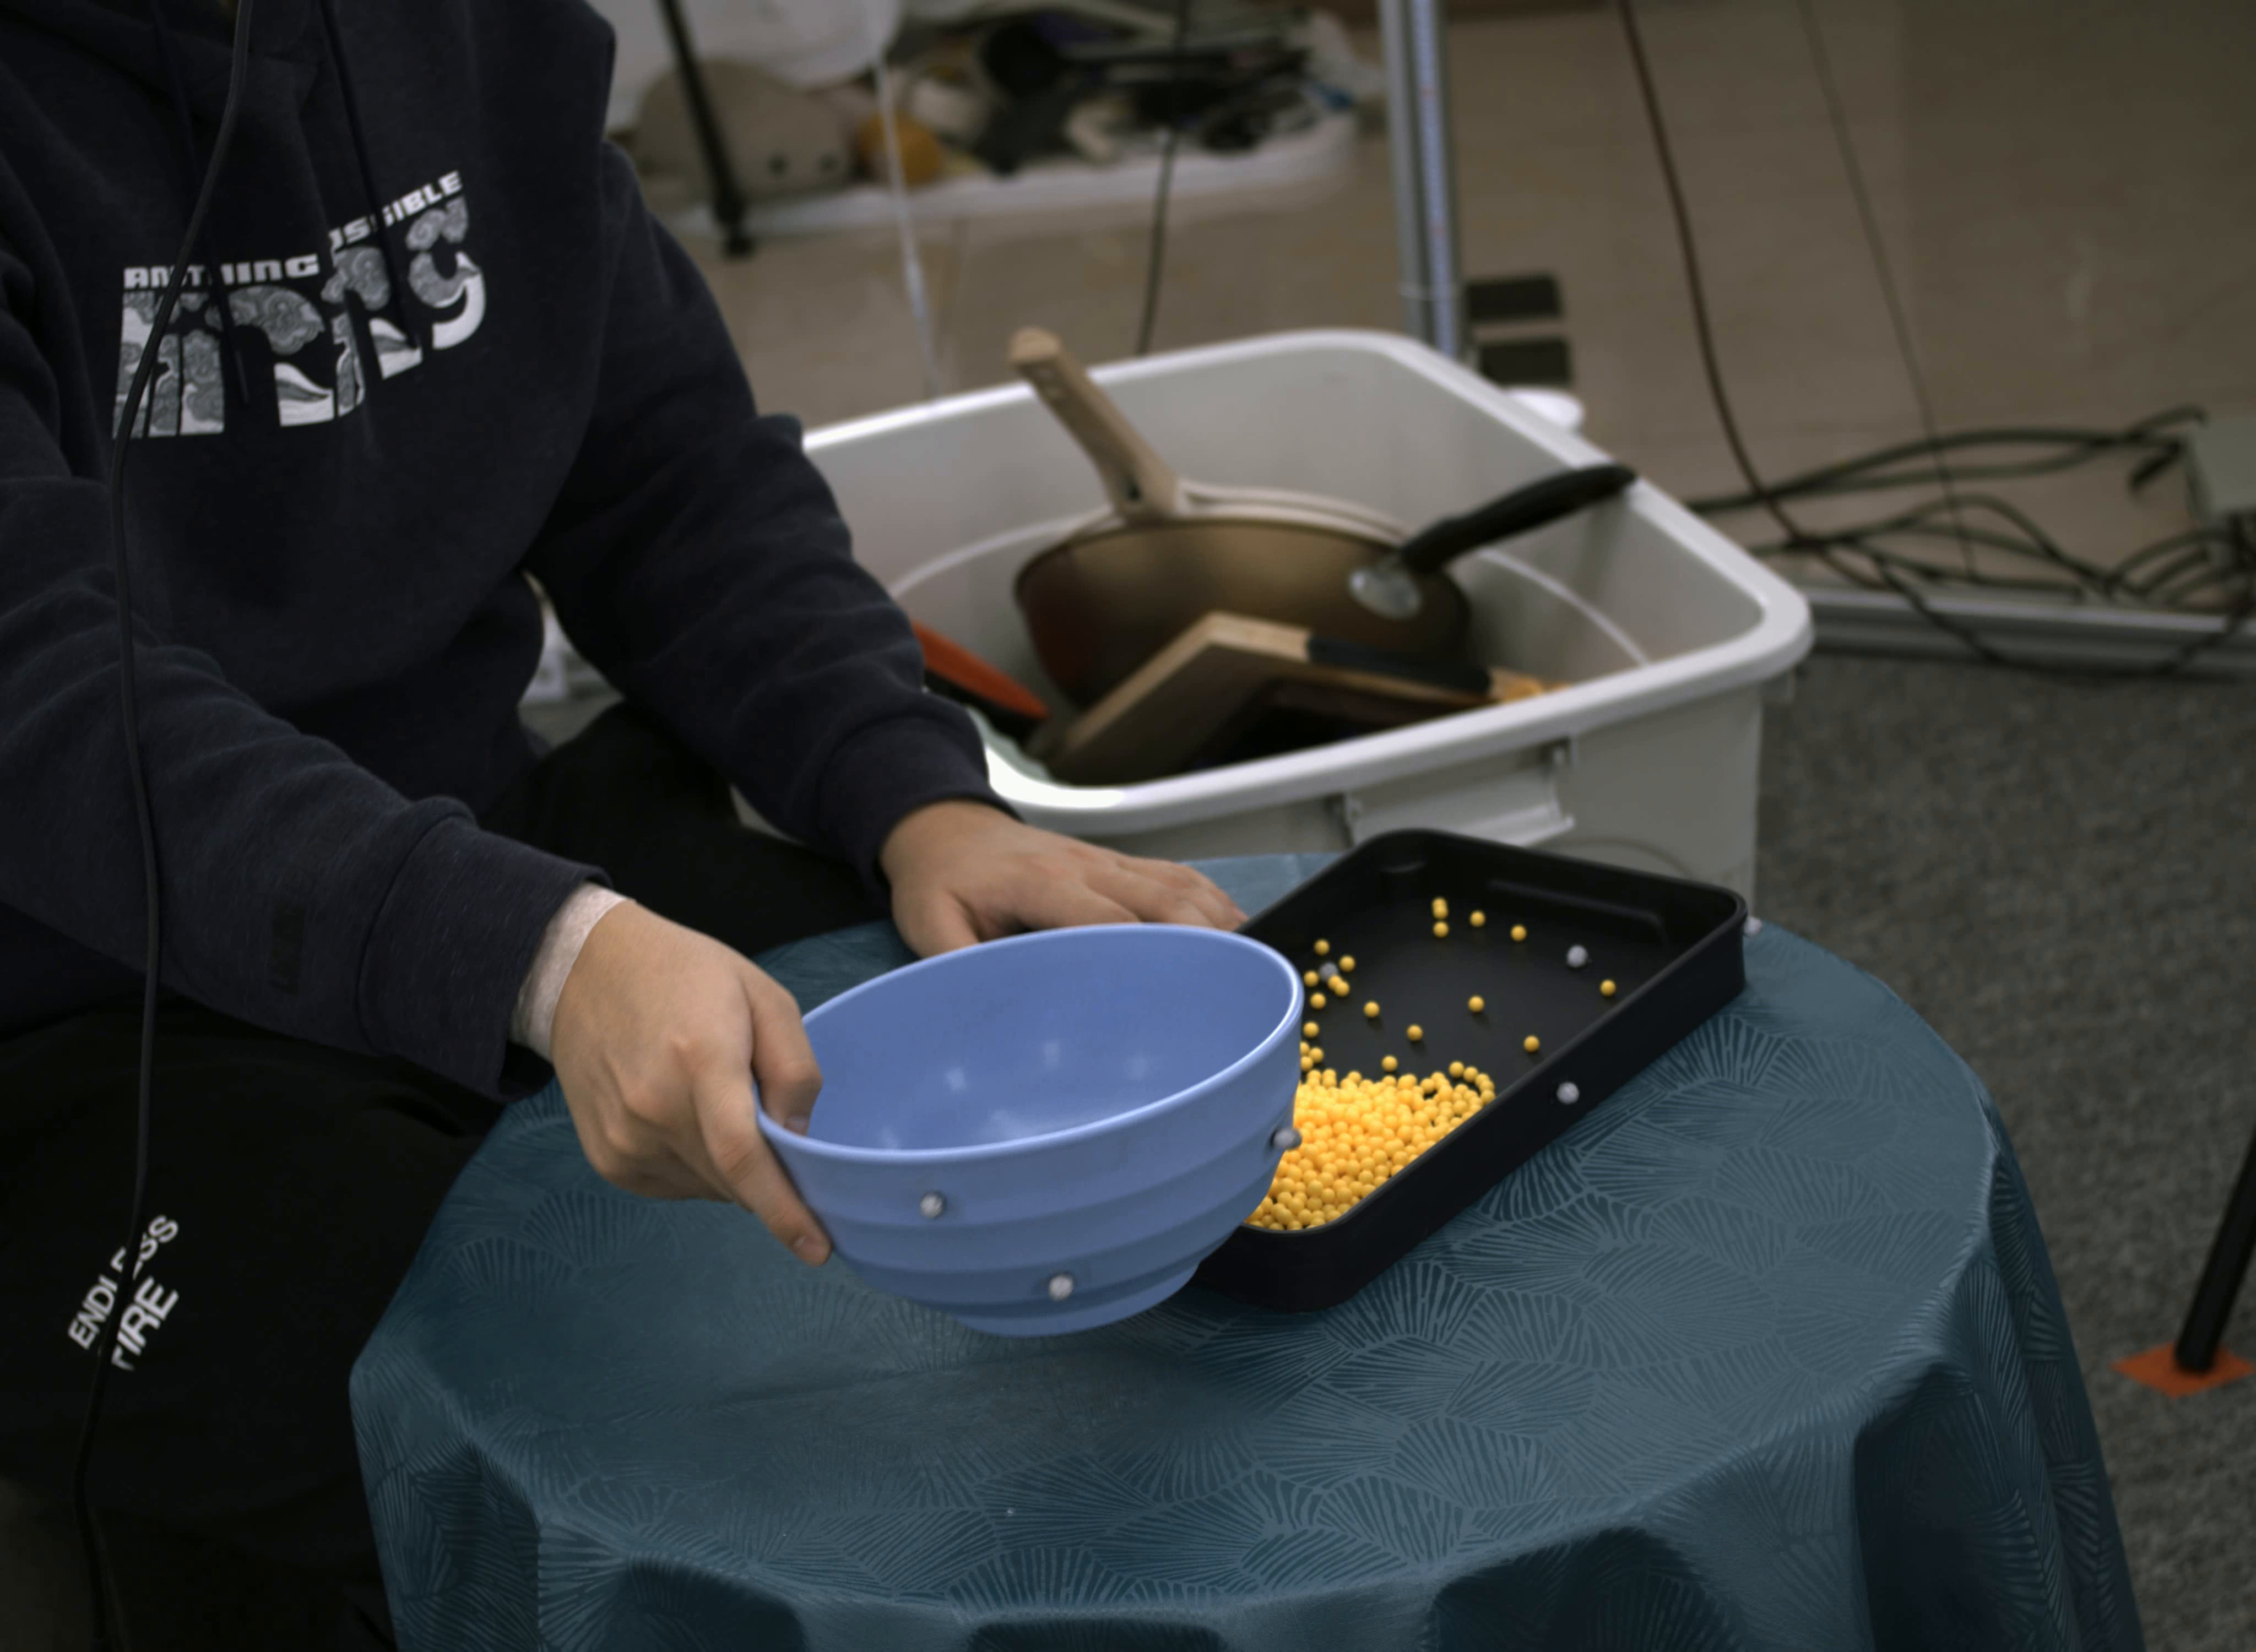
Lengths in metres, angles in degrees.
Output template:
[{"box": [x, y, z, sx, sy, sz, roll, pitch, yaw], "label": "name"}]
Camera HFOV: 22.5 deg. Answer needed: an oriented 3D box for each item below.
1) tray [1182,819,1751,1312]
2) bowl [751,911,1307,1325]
[{"box": [0.093, 0.087, 2.199, 0.183, 0.037, 0.314, 11, 31, 35], "label": "tray"}, {"box": [-0.026, 0.112, 1.976, 0.196, 0.097, 0.194, -10, 21, 4], "label": "bowl"}]
